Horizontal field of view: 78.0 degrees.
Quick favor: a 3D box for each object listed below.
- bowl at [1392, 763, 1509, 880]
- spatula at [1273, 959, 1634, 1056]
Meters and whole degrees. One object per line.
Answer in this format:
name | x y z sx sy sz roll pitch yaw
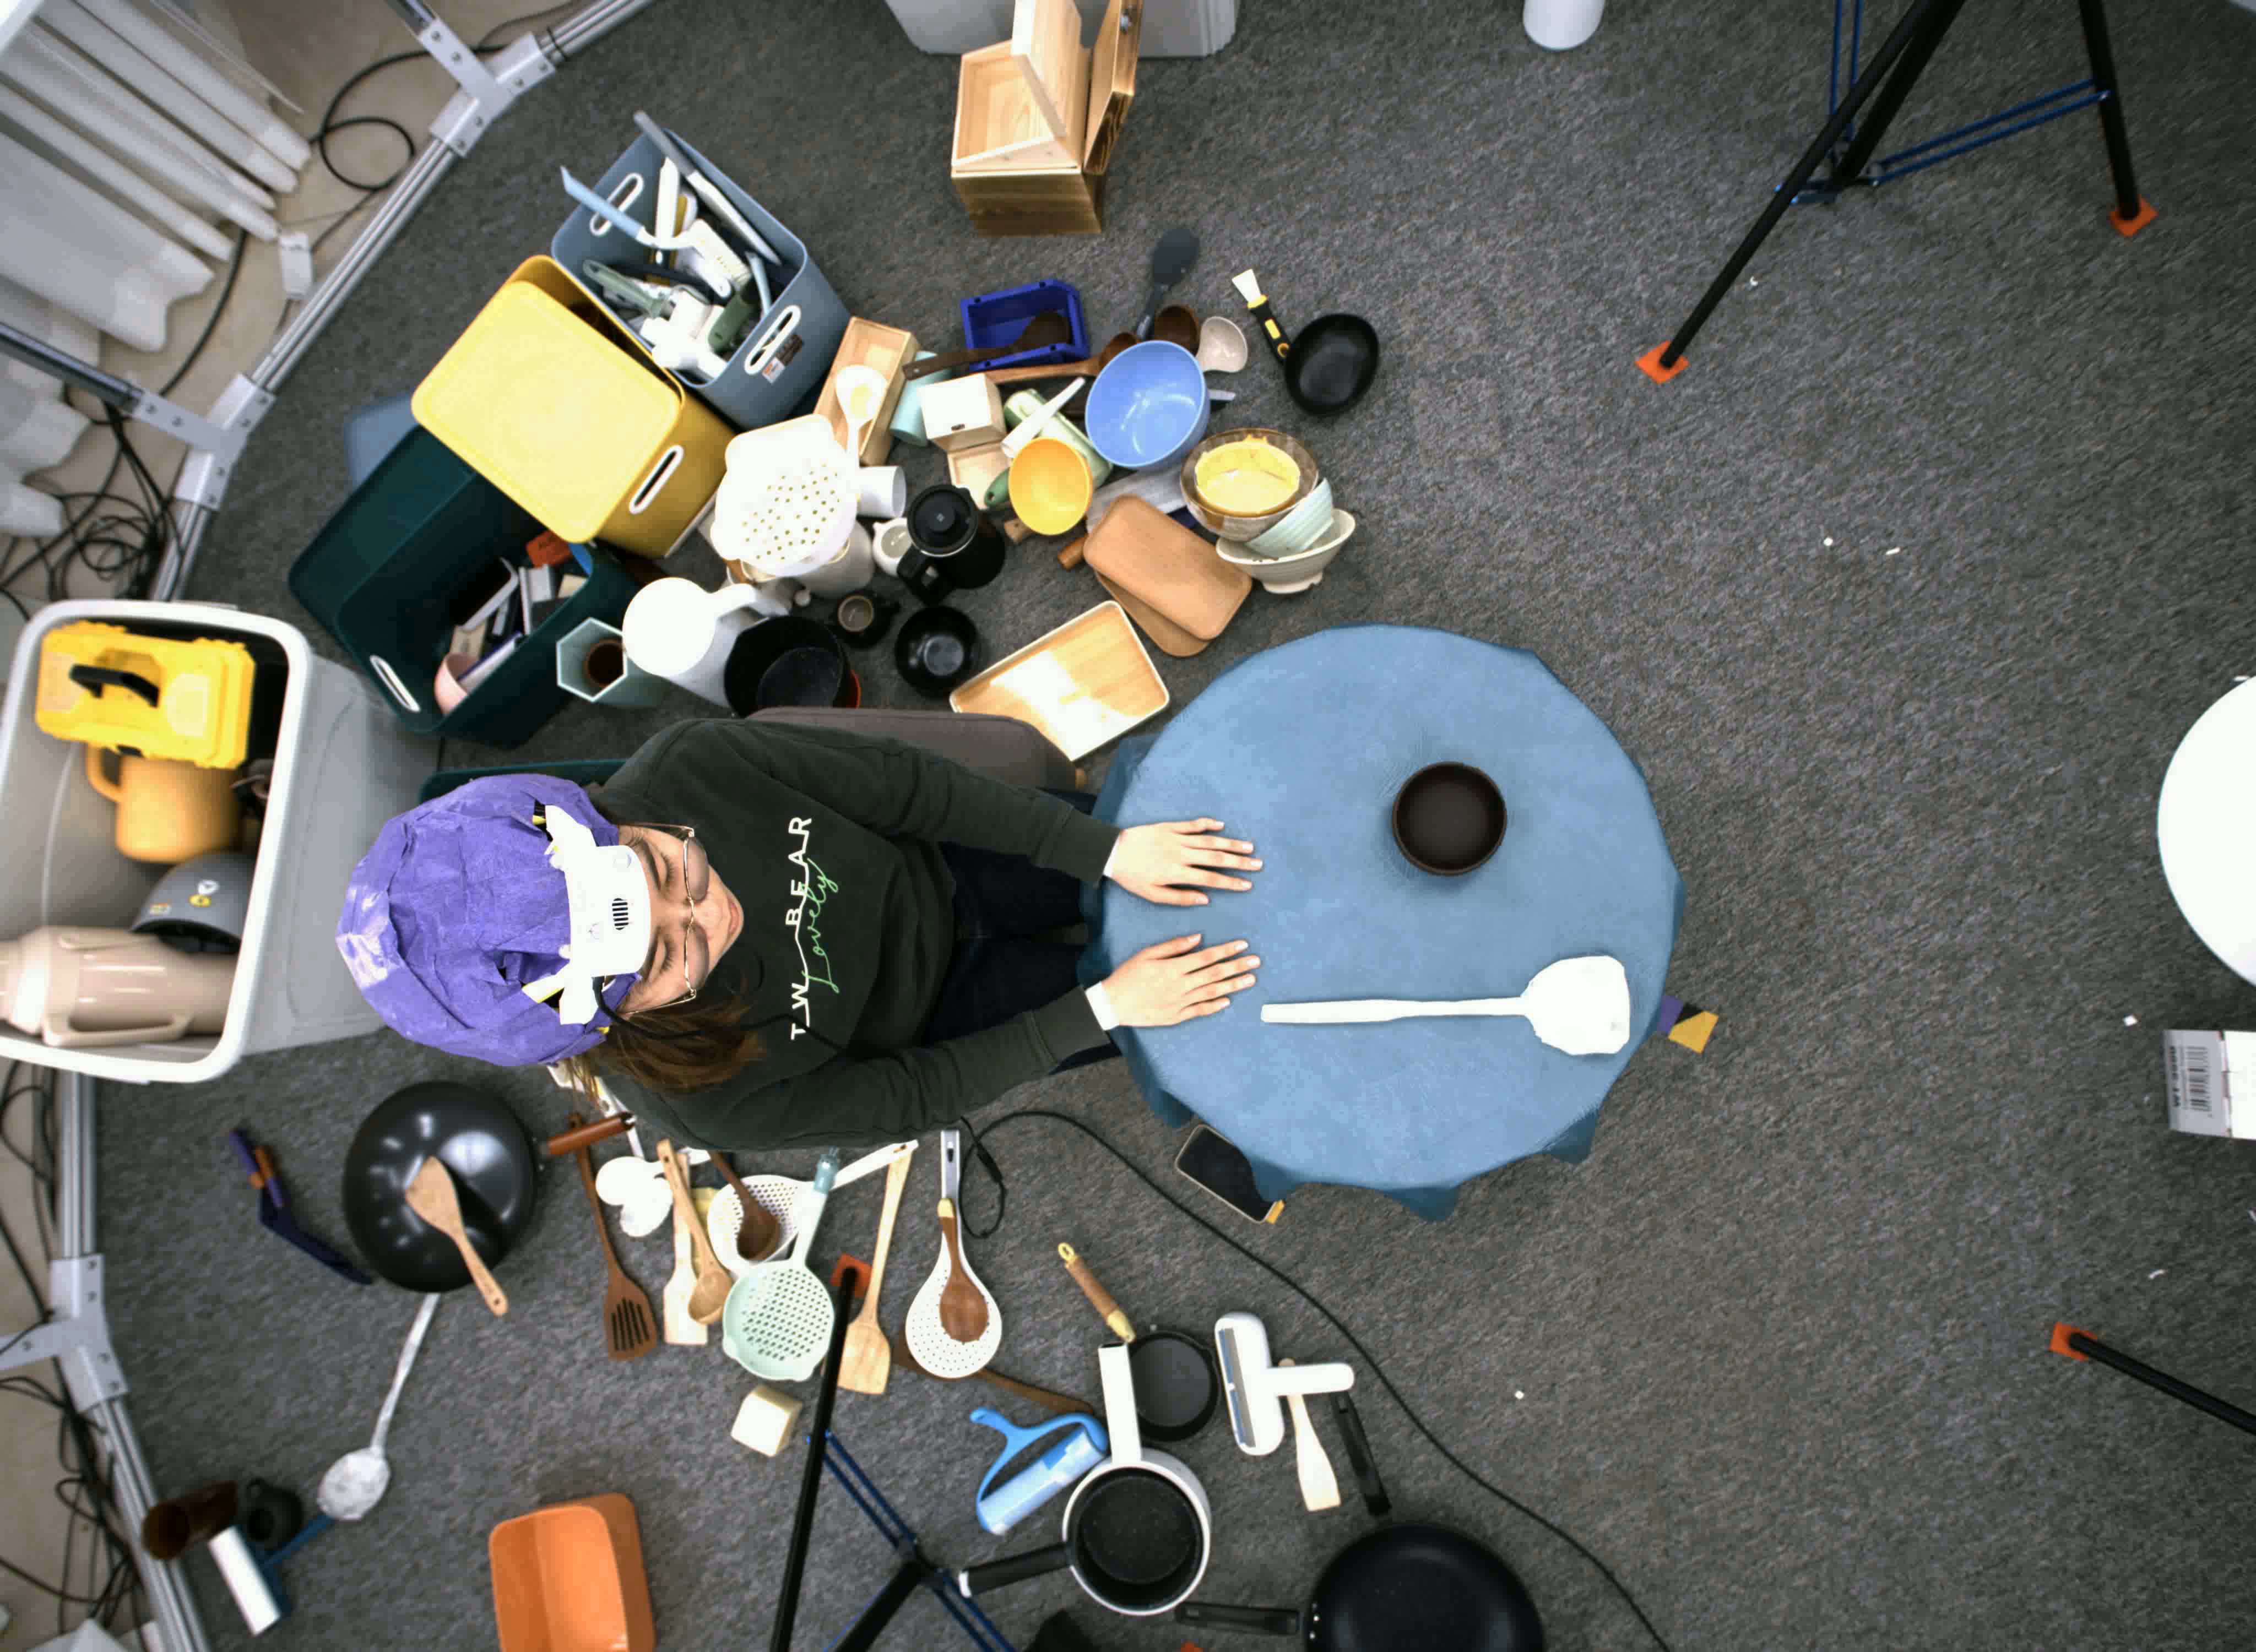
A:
bowl | 0.332 -0.004 1.422 0.118 0.070 0.117 -1 83 11
spatula | 0.331 0.185 1.426 0.366 0.045 0.098 -2 87 10
